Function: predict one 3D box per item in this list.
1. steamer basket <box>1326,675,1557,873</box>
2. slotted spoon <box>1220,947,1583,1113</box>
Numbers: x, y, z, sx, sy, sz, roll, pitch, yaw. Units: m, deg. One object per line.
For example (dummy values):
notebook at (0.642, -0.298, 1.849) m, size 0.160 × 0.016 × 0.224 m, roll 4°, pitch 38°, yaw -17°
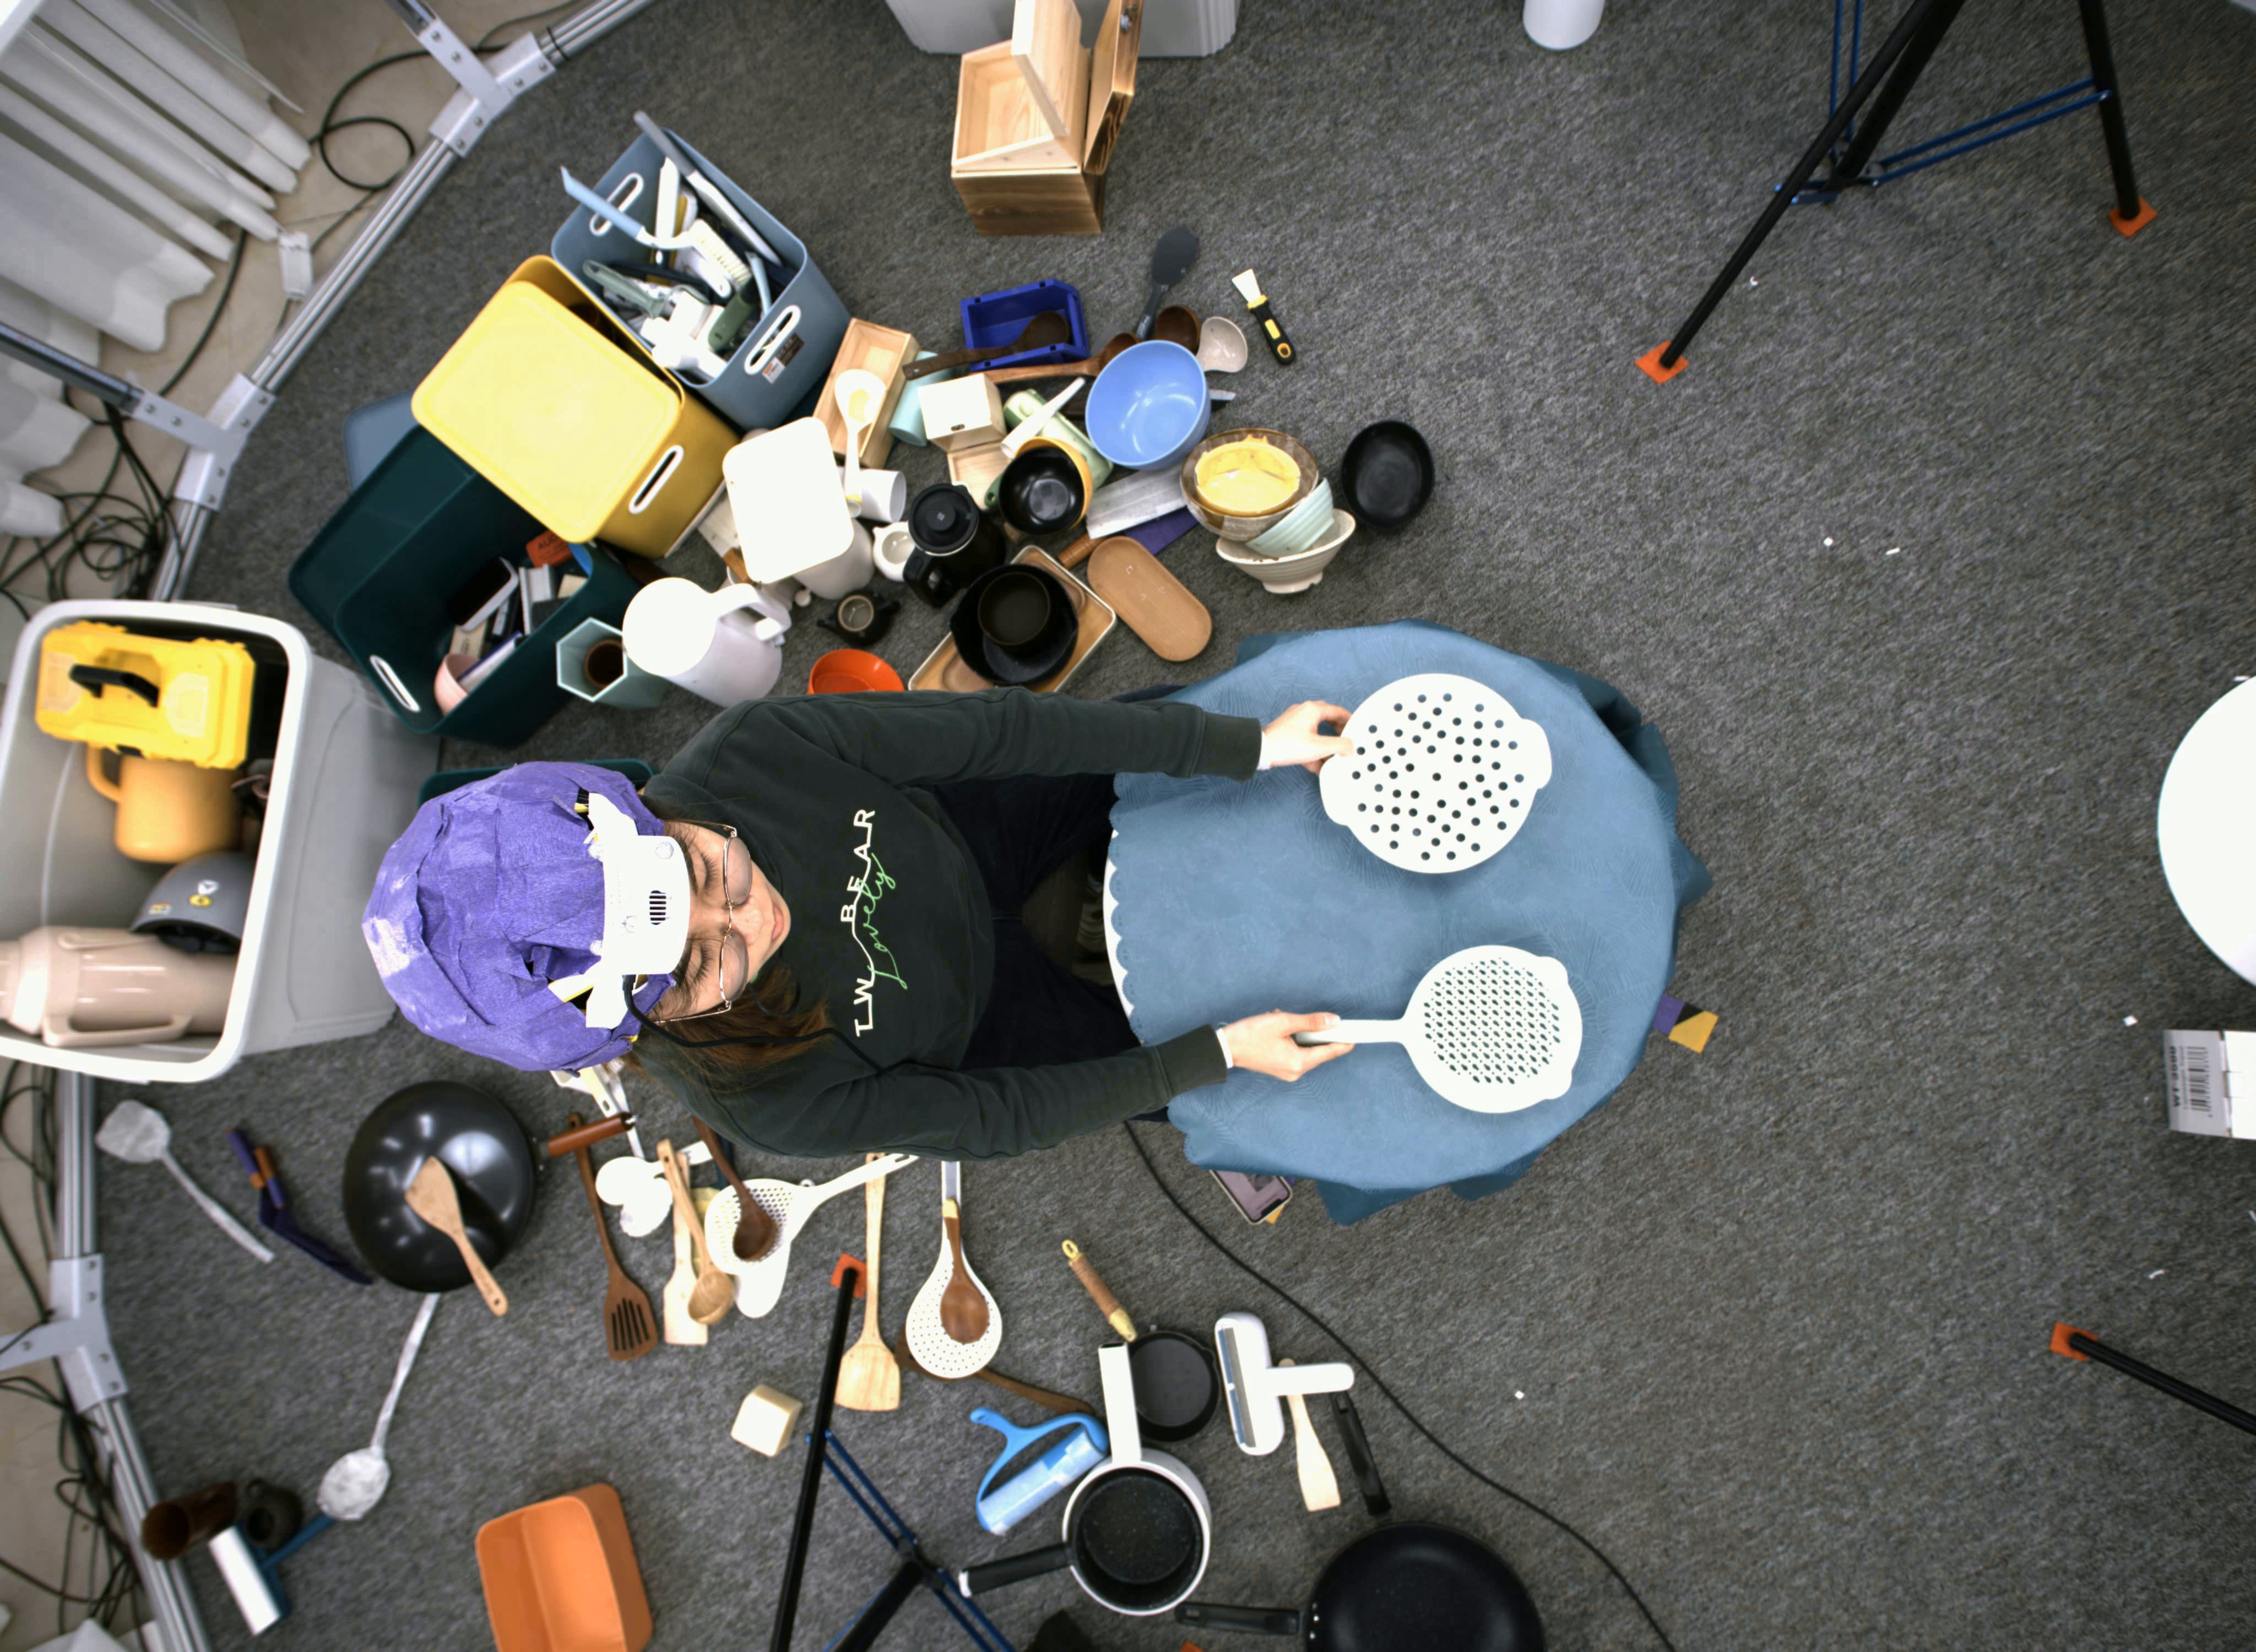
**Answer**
steamer basket at (0.322, -0.053, 1.414) m, size 0.232 × 0.069 × 0.201 m, roll -12°, pitch 86°, yaw 16°
slotted spoon at (0.273, 0.207, 1.409) m, size 0.360 × 0.075 × 0.170 m, roll -4°, pitch 95°, yaw 5°
